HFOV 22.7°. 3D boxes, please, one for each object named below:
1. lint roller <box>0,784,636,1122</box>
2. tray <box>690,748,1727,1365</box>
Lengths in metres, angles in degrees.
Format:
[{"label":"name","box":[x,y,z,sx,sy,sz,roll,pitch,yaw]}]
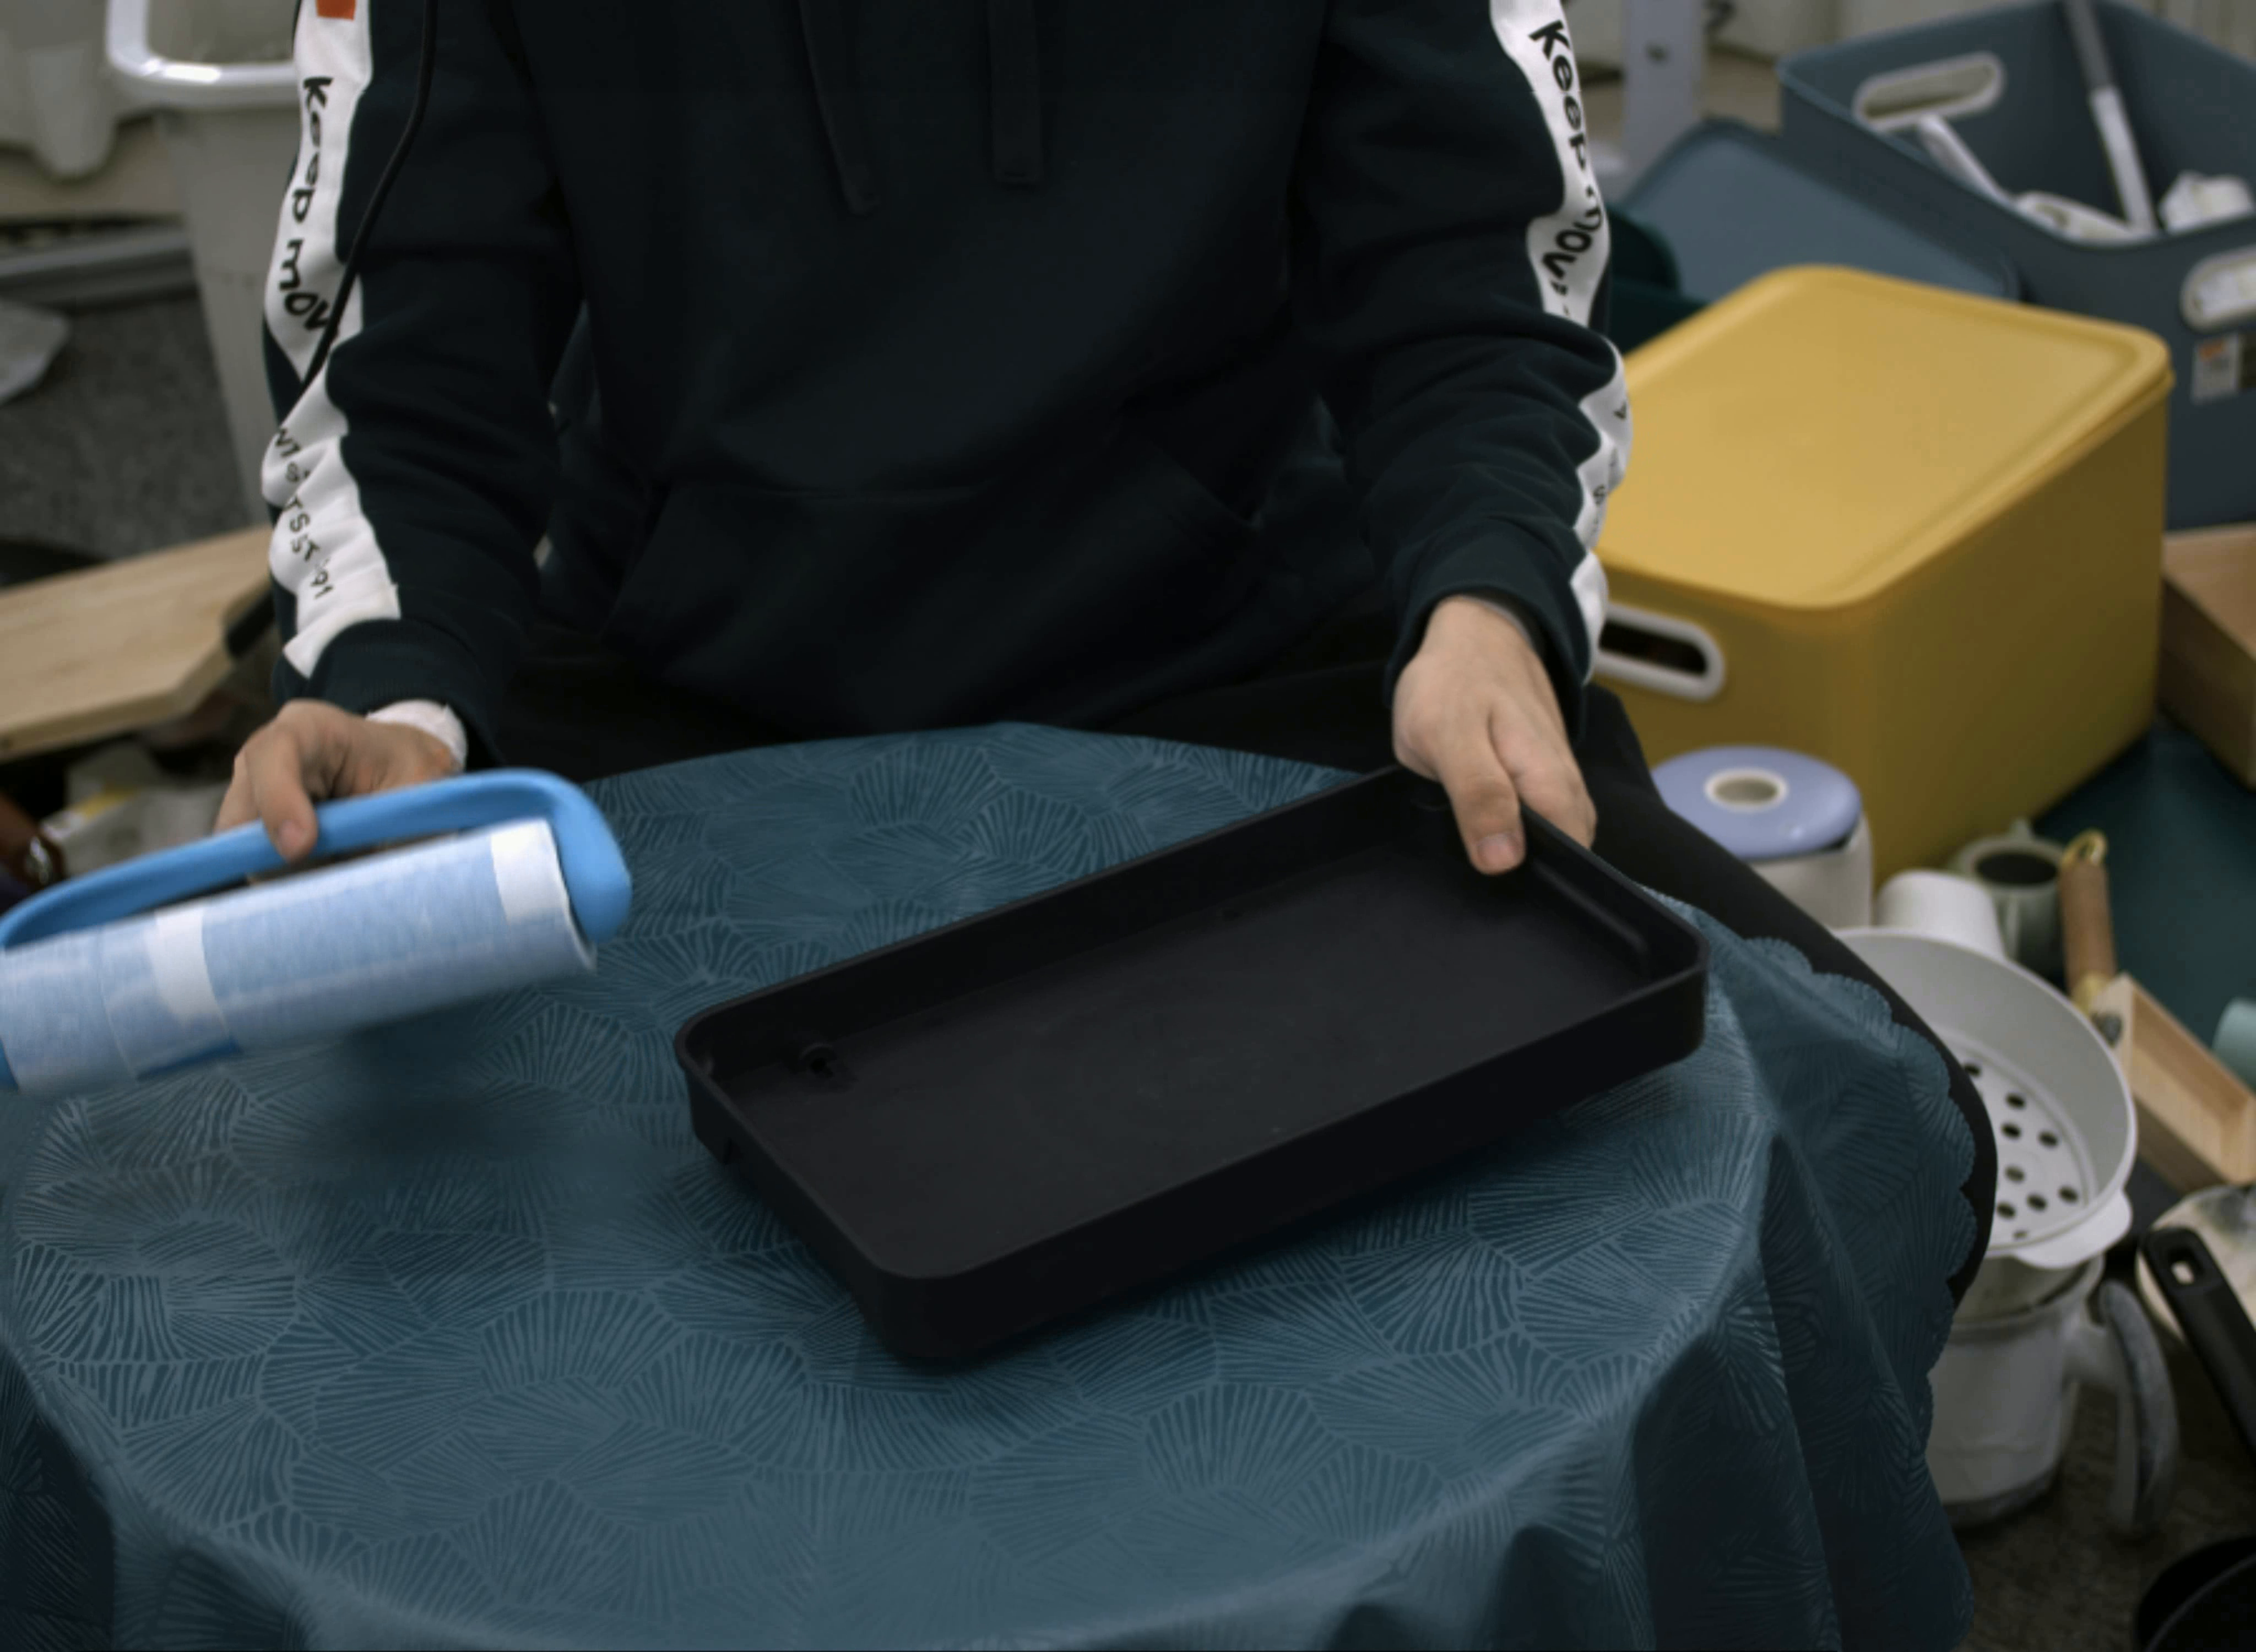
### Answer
[{"label":"lint roller","box":[-0.278,0.030,1.912,0.228,0.067,0.182,-16,17,0]},{"label":"tray","box":[0.028,0.071,1.880,0.320,0.036,0.185,-22,34,-24]}]
